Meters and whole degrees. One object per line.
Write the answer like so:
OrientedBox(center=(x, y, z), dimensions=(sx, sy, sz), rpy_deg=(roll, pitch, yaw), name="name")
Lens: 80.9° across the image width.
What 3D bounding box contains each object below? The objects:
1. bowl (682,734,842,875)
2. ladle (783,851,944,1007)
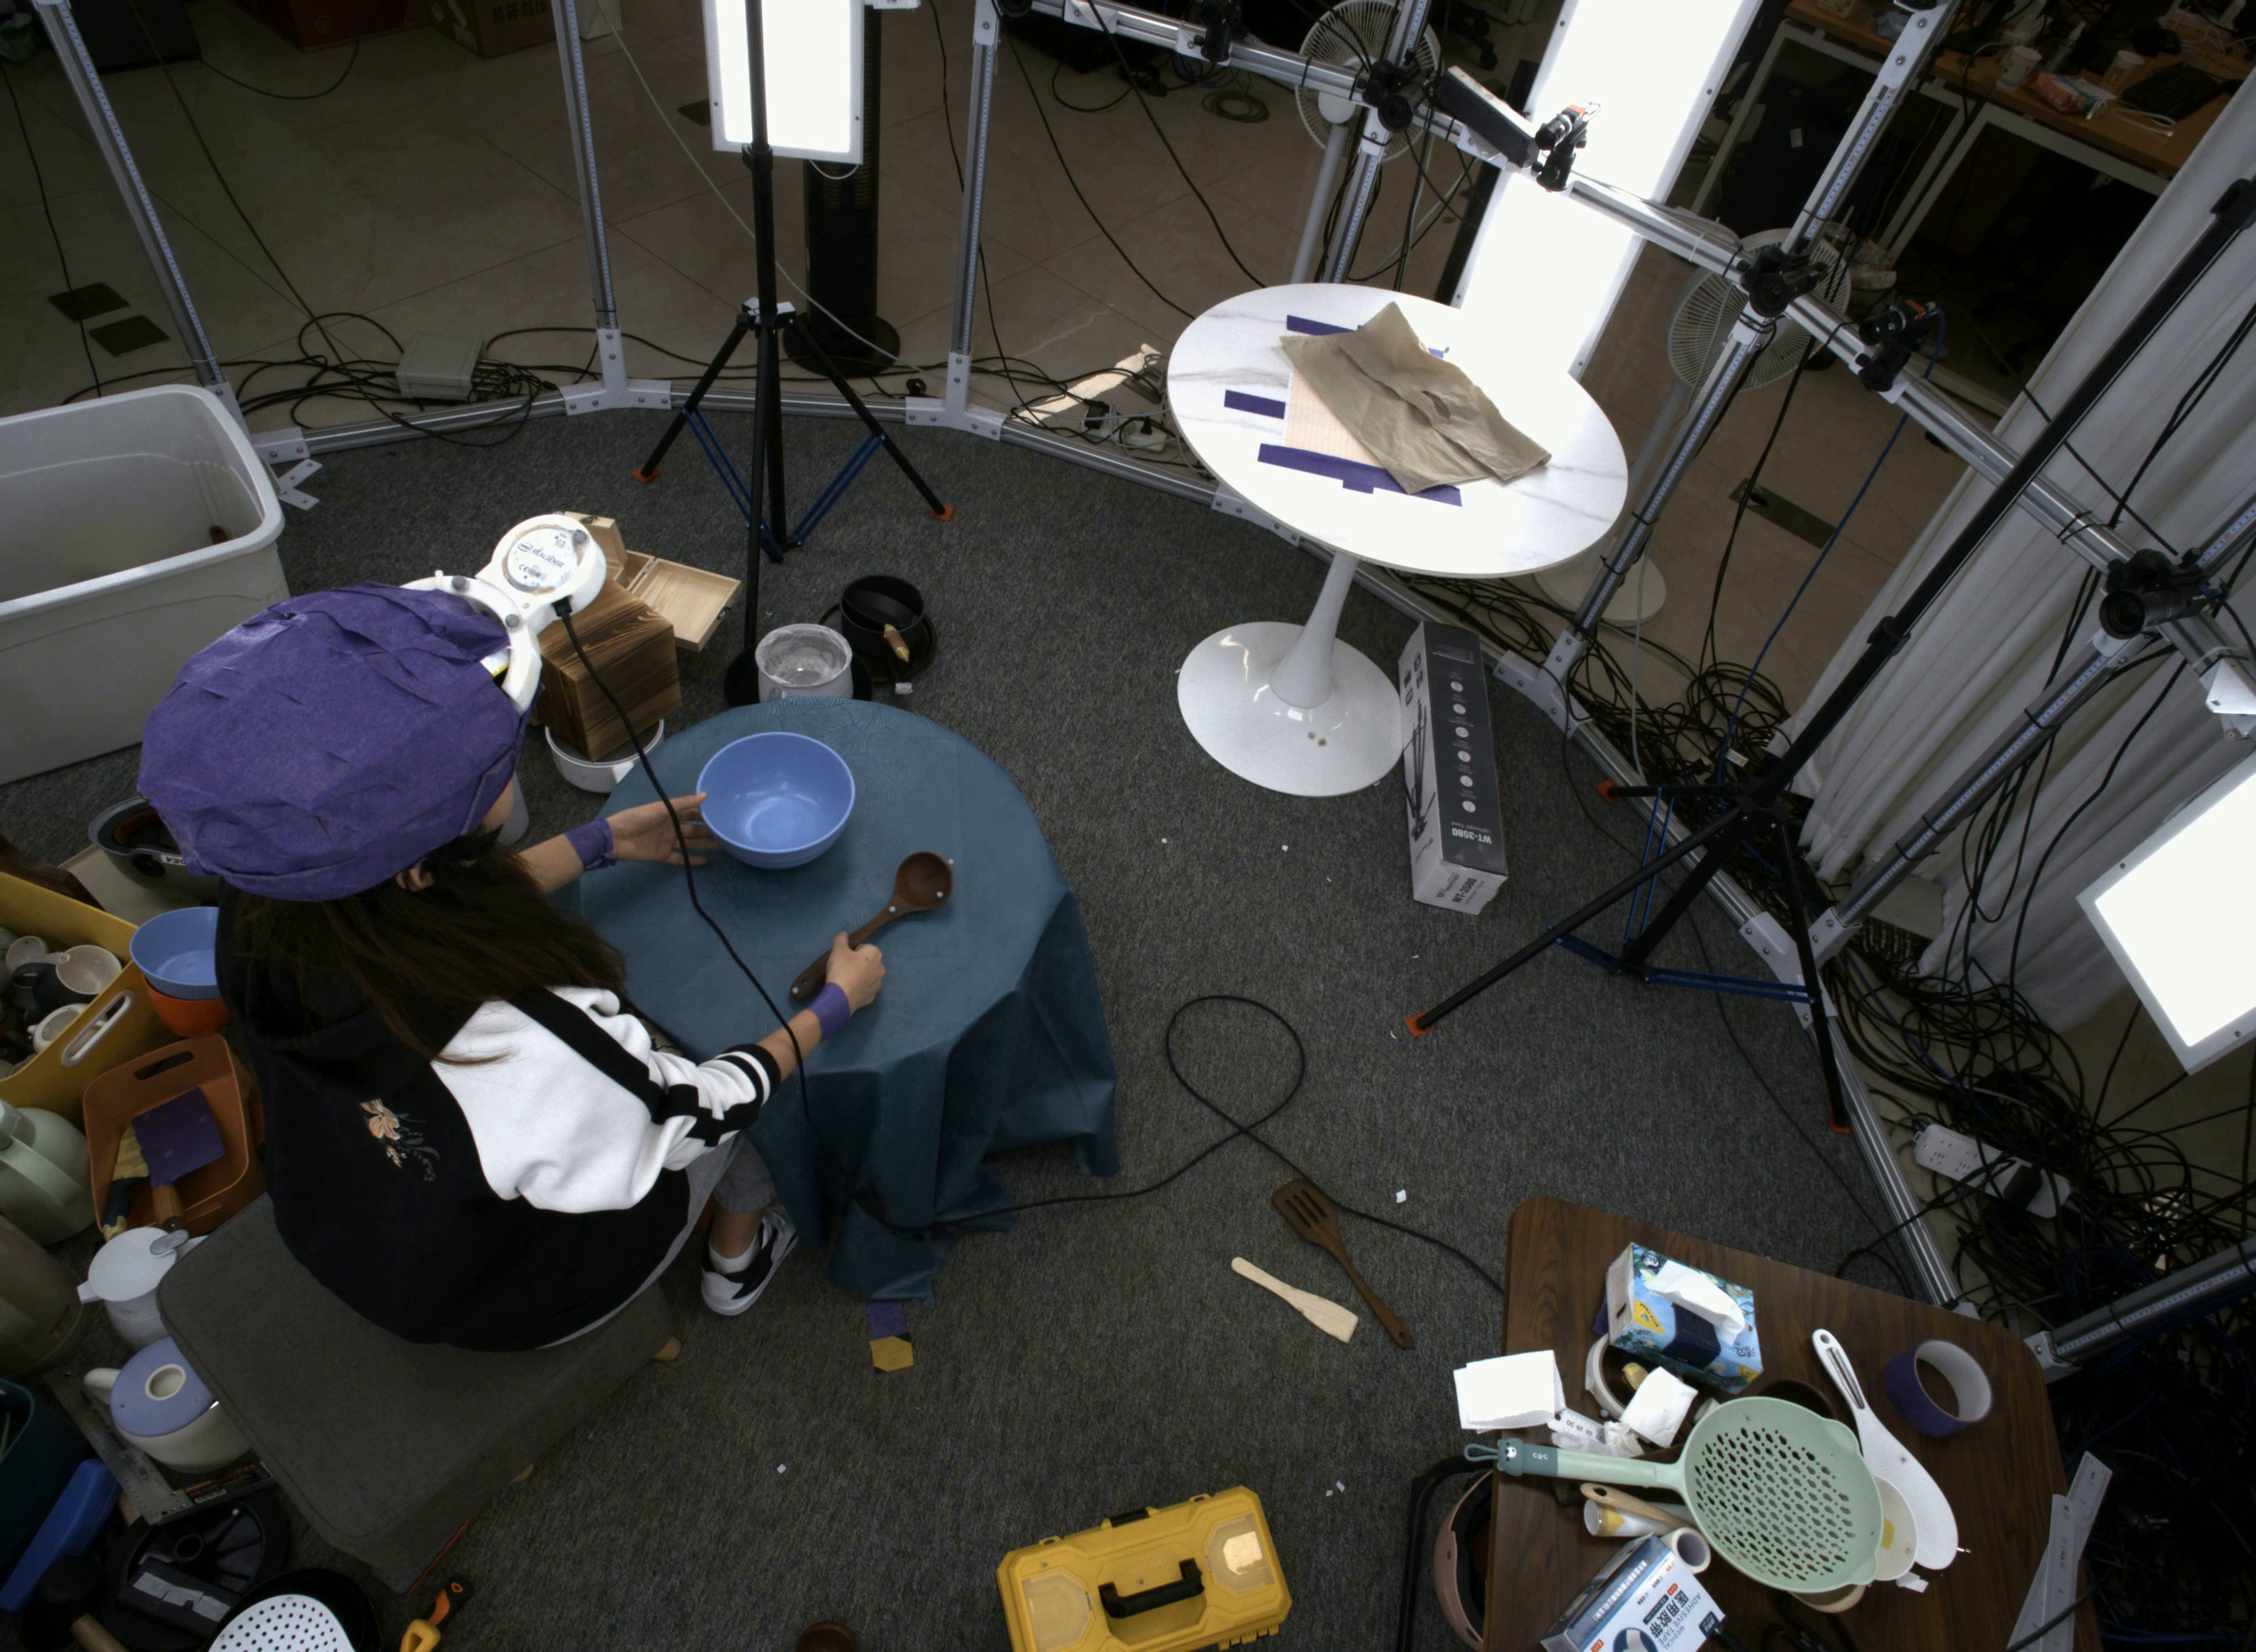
OrientedBox(center=(-0.470, -0.013, 1.657), dimensions=(0.197, 0.097, 0.193), rpy_deg=(12, 51, -13), name="bowl")
OrientedBox(center=(-0.328, 0.124, 1.610), dimensions=(0.075, 0.066, 0.260), rpy_deg=(40, 53, 9), name="ladle")
